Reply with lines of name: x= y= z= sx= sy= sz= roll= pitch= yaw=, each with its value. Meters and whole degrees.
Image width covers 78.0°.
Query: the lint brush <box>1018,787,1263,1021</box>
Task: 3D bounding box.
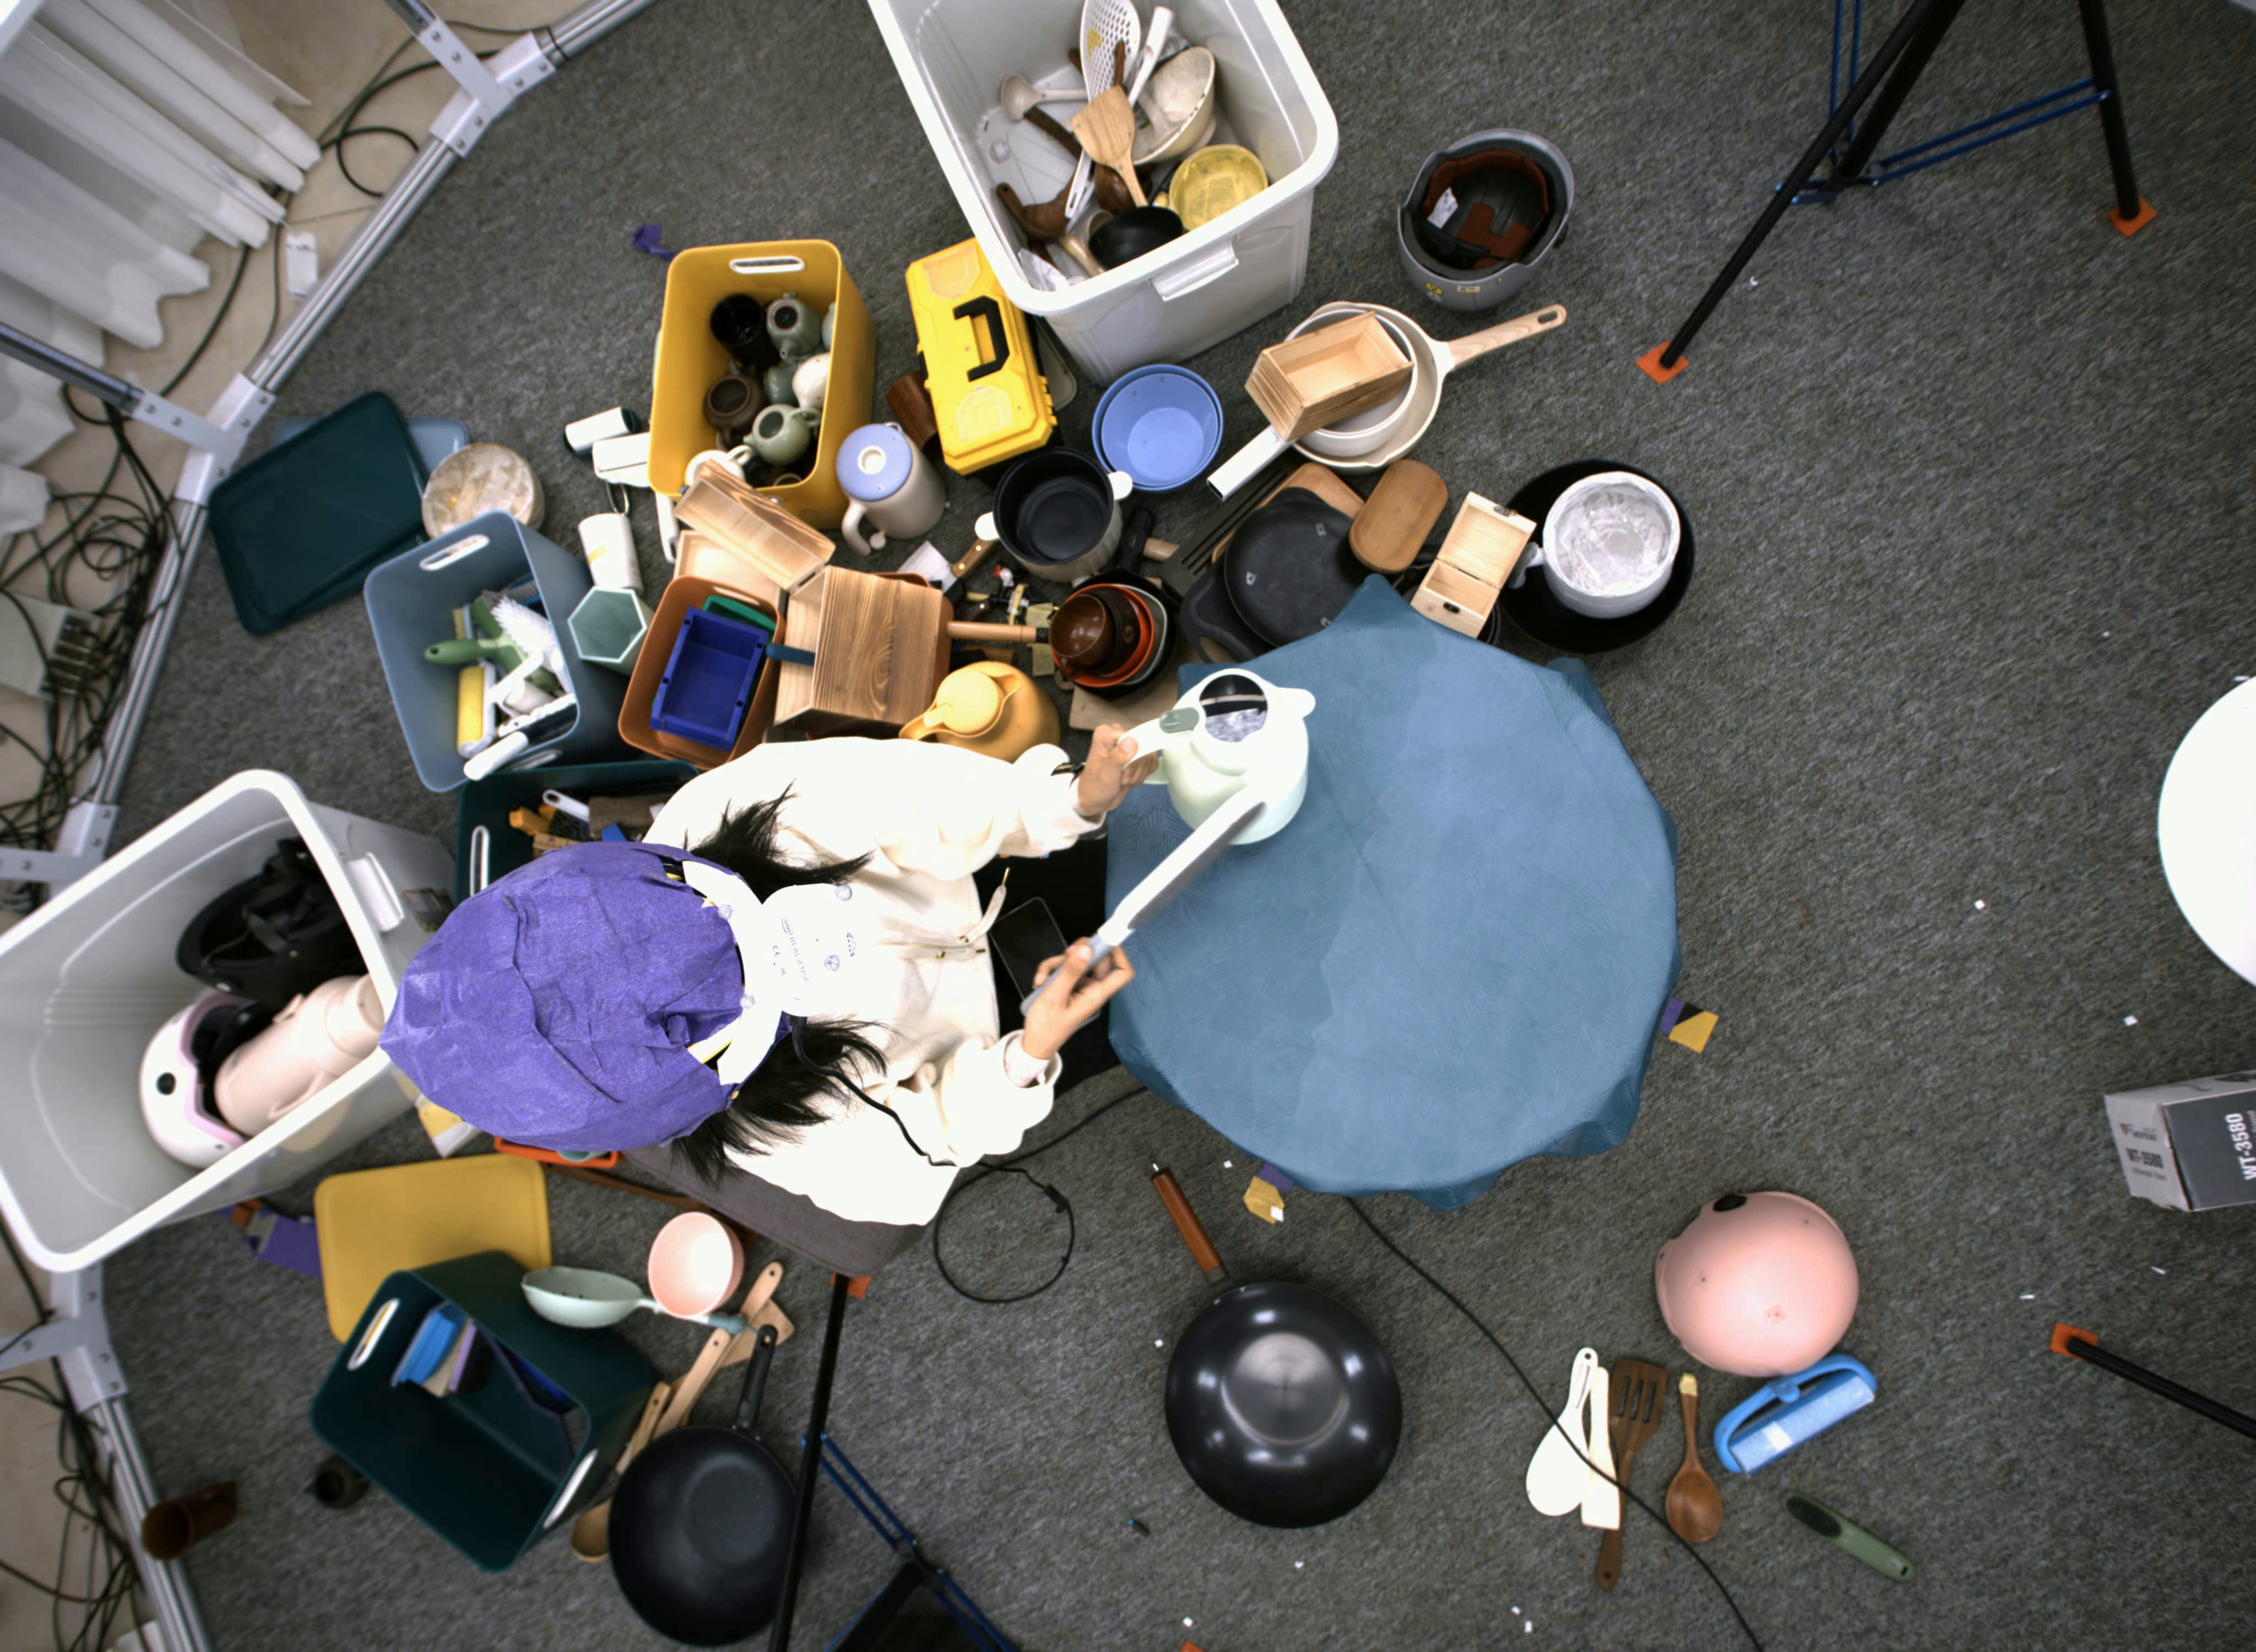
lint brush: x=0.008 y=0.073 z=1.278 sx=0.312 sy=0.060 sz=0.021 roll=-44 pitch=73 yaw=13

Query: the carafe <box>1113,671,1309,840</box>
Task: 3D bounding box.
carafe: x=0.086 y=-0.074 z=1.327 sx=0.187 sy=0.258 sz=0.143 roll=-12 pitch=79 yaw=7
